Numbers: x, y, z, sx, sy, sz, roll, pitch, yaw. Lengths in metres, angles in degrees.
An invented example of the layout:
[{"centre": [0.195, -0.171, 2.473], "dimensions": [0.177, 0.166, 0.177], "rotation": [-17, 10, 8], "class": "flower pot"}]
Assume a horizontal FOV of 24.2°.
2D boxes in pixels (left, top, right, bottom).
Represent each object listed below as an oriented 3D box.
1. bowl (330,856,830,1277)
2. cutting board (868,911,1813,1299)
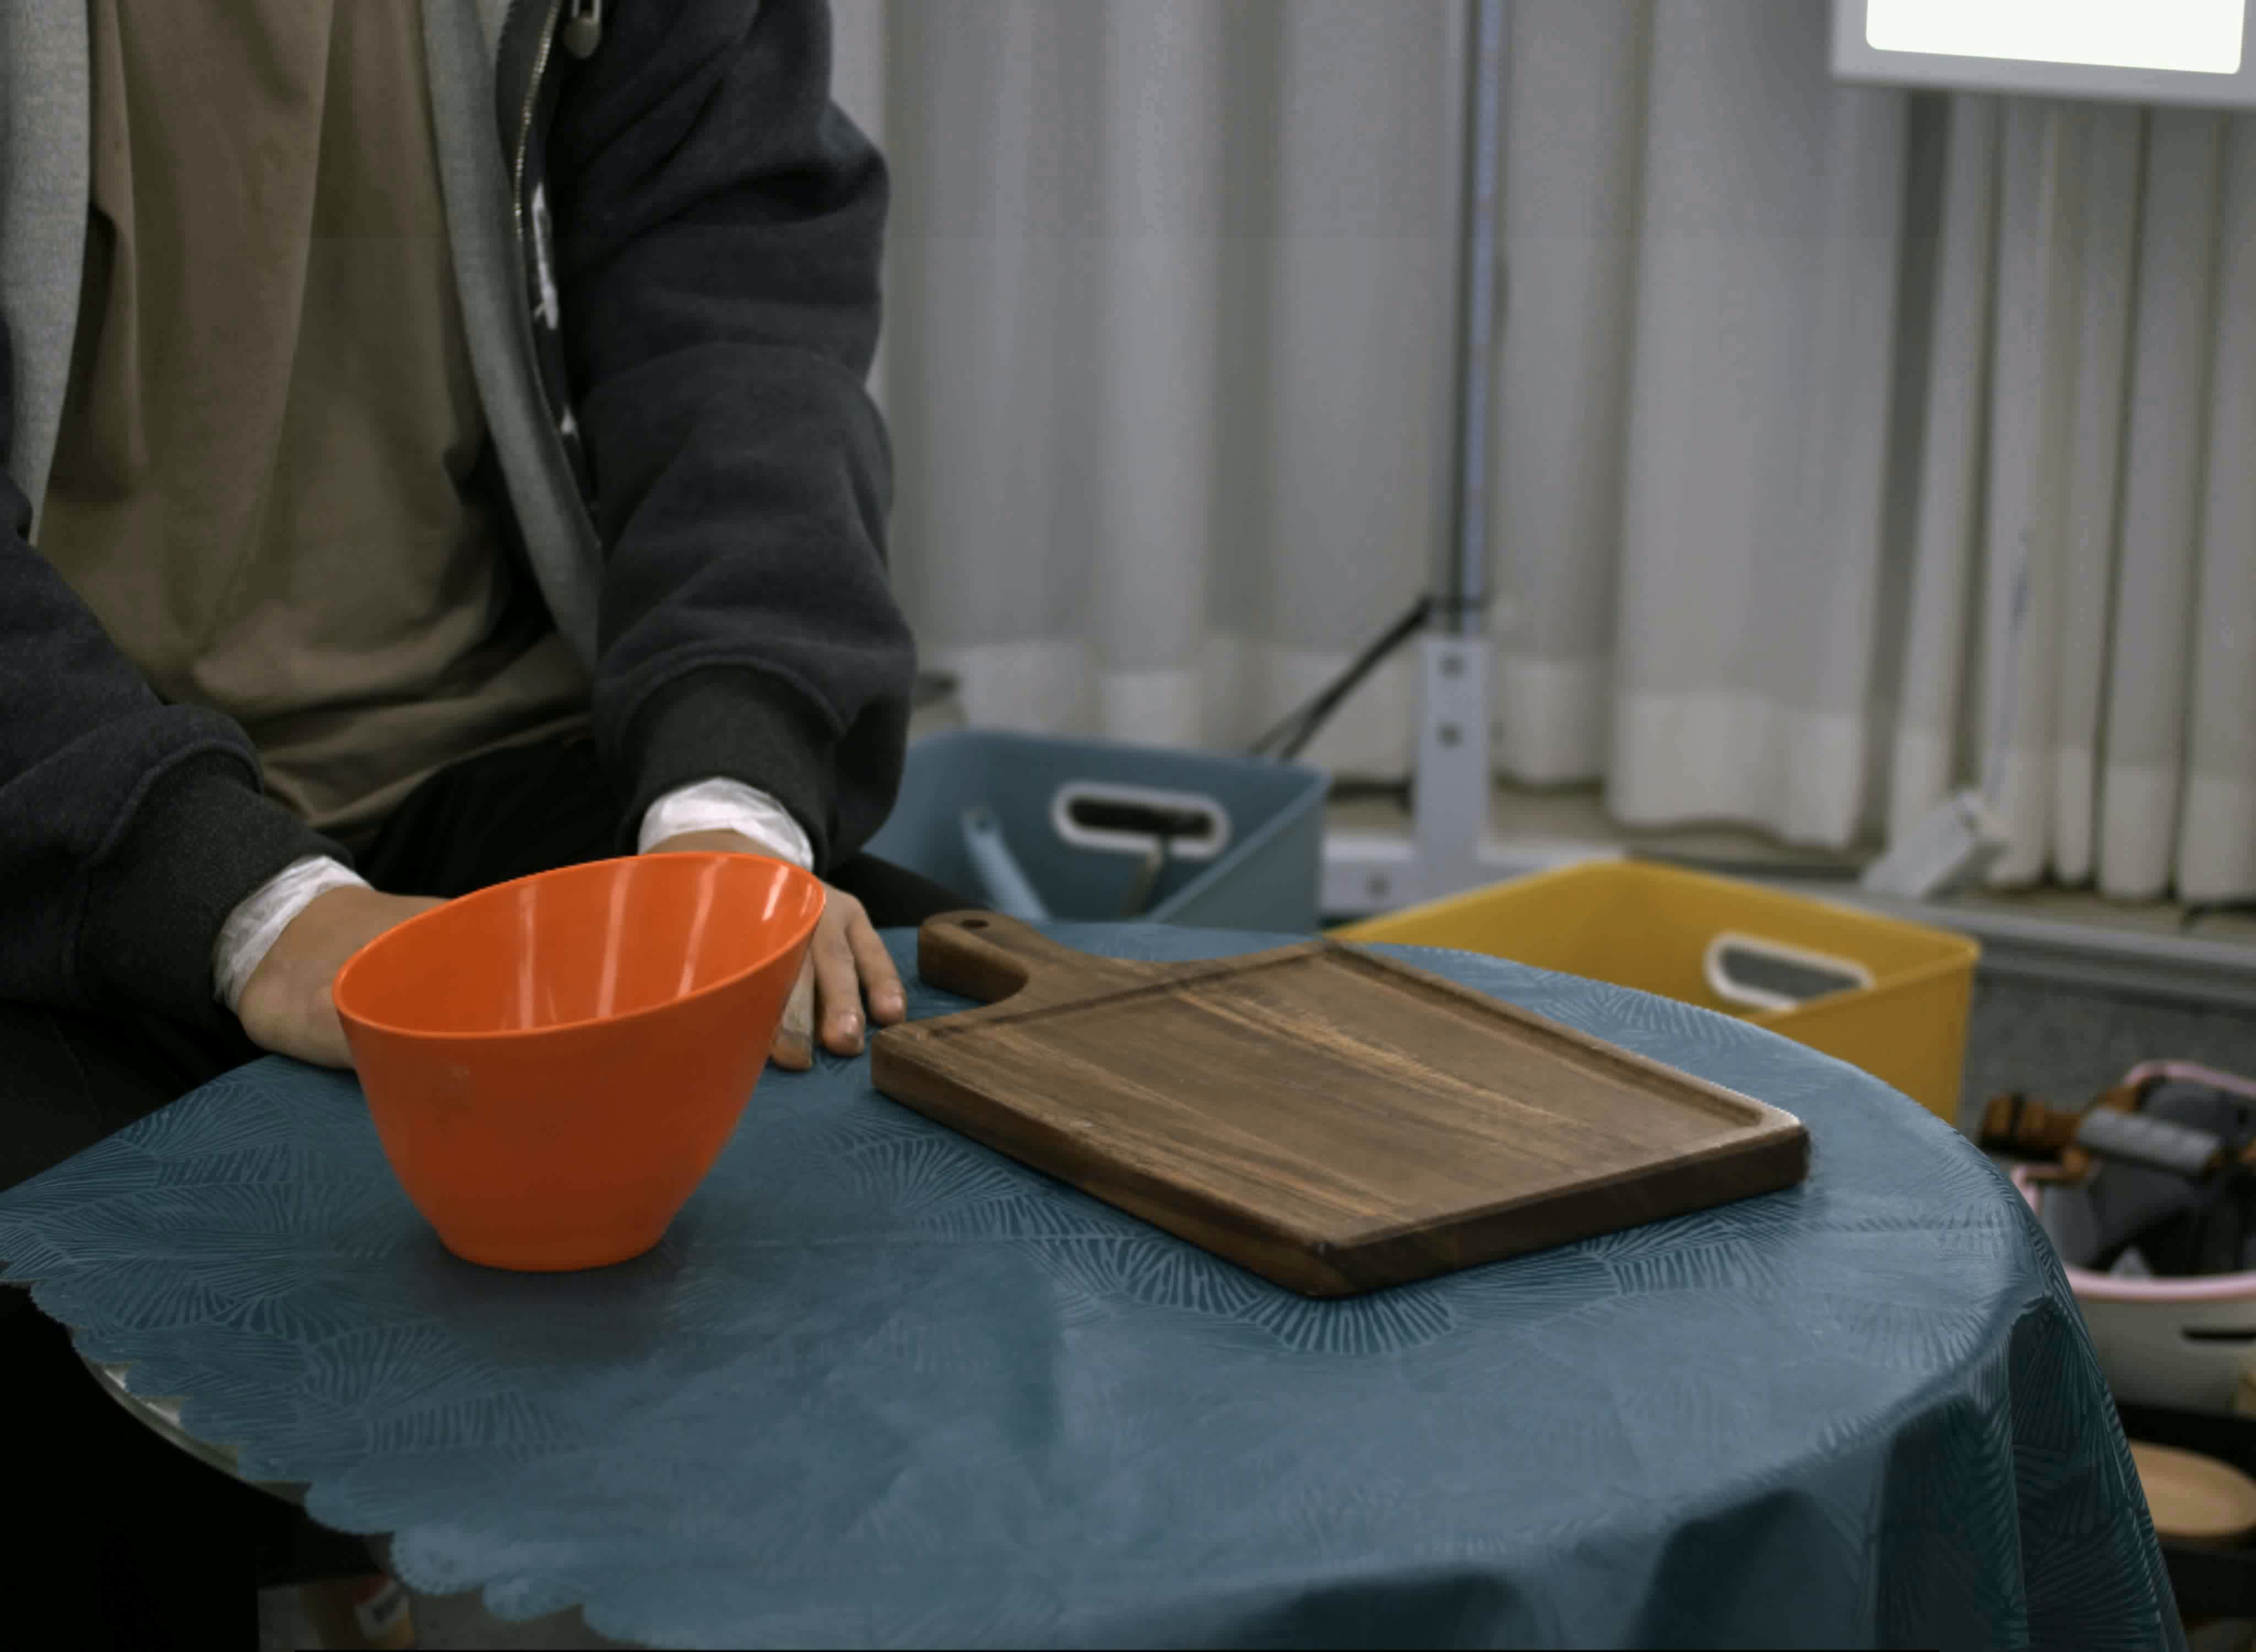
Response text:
[{"centre": [-0.162, 0.074, 1.566], "dimensions": [0.147, 0.105, 0.147], "rotation": [1, 16, 0], "class": "bowl"}, {"centre": [0.036, 0.077, 1.712], "dimensions": [0.202, 0.023, 0.347], "rotation": [-10, 19, -34], "class": "cutting board"}]
